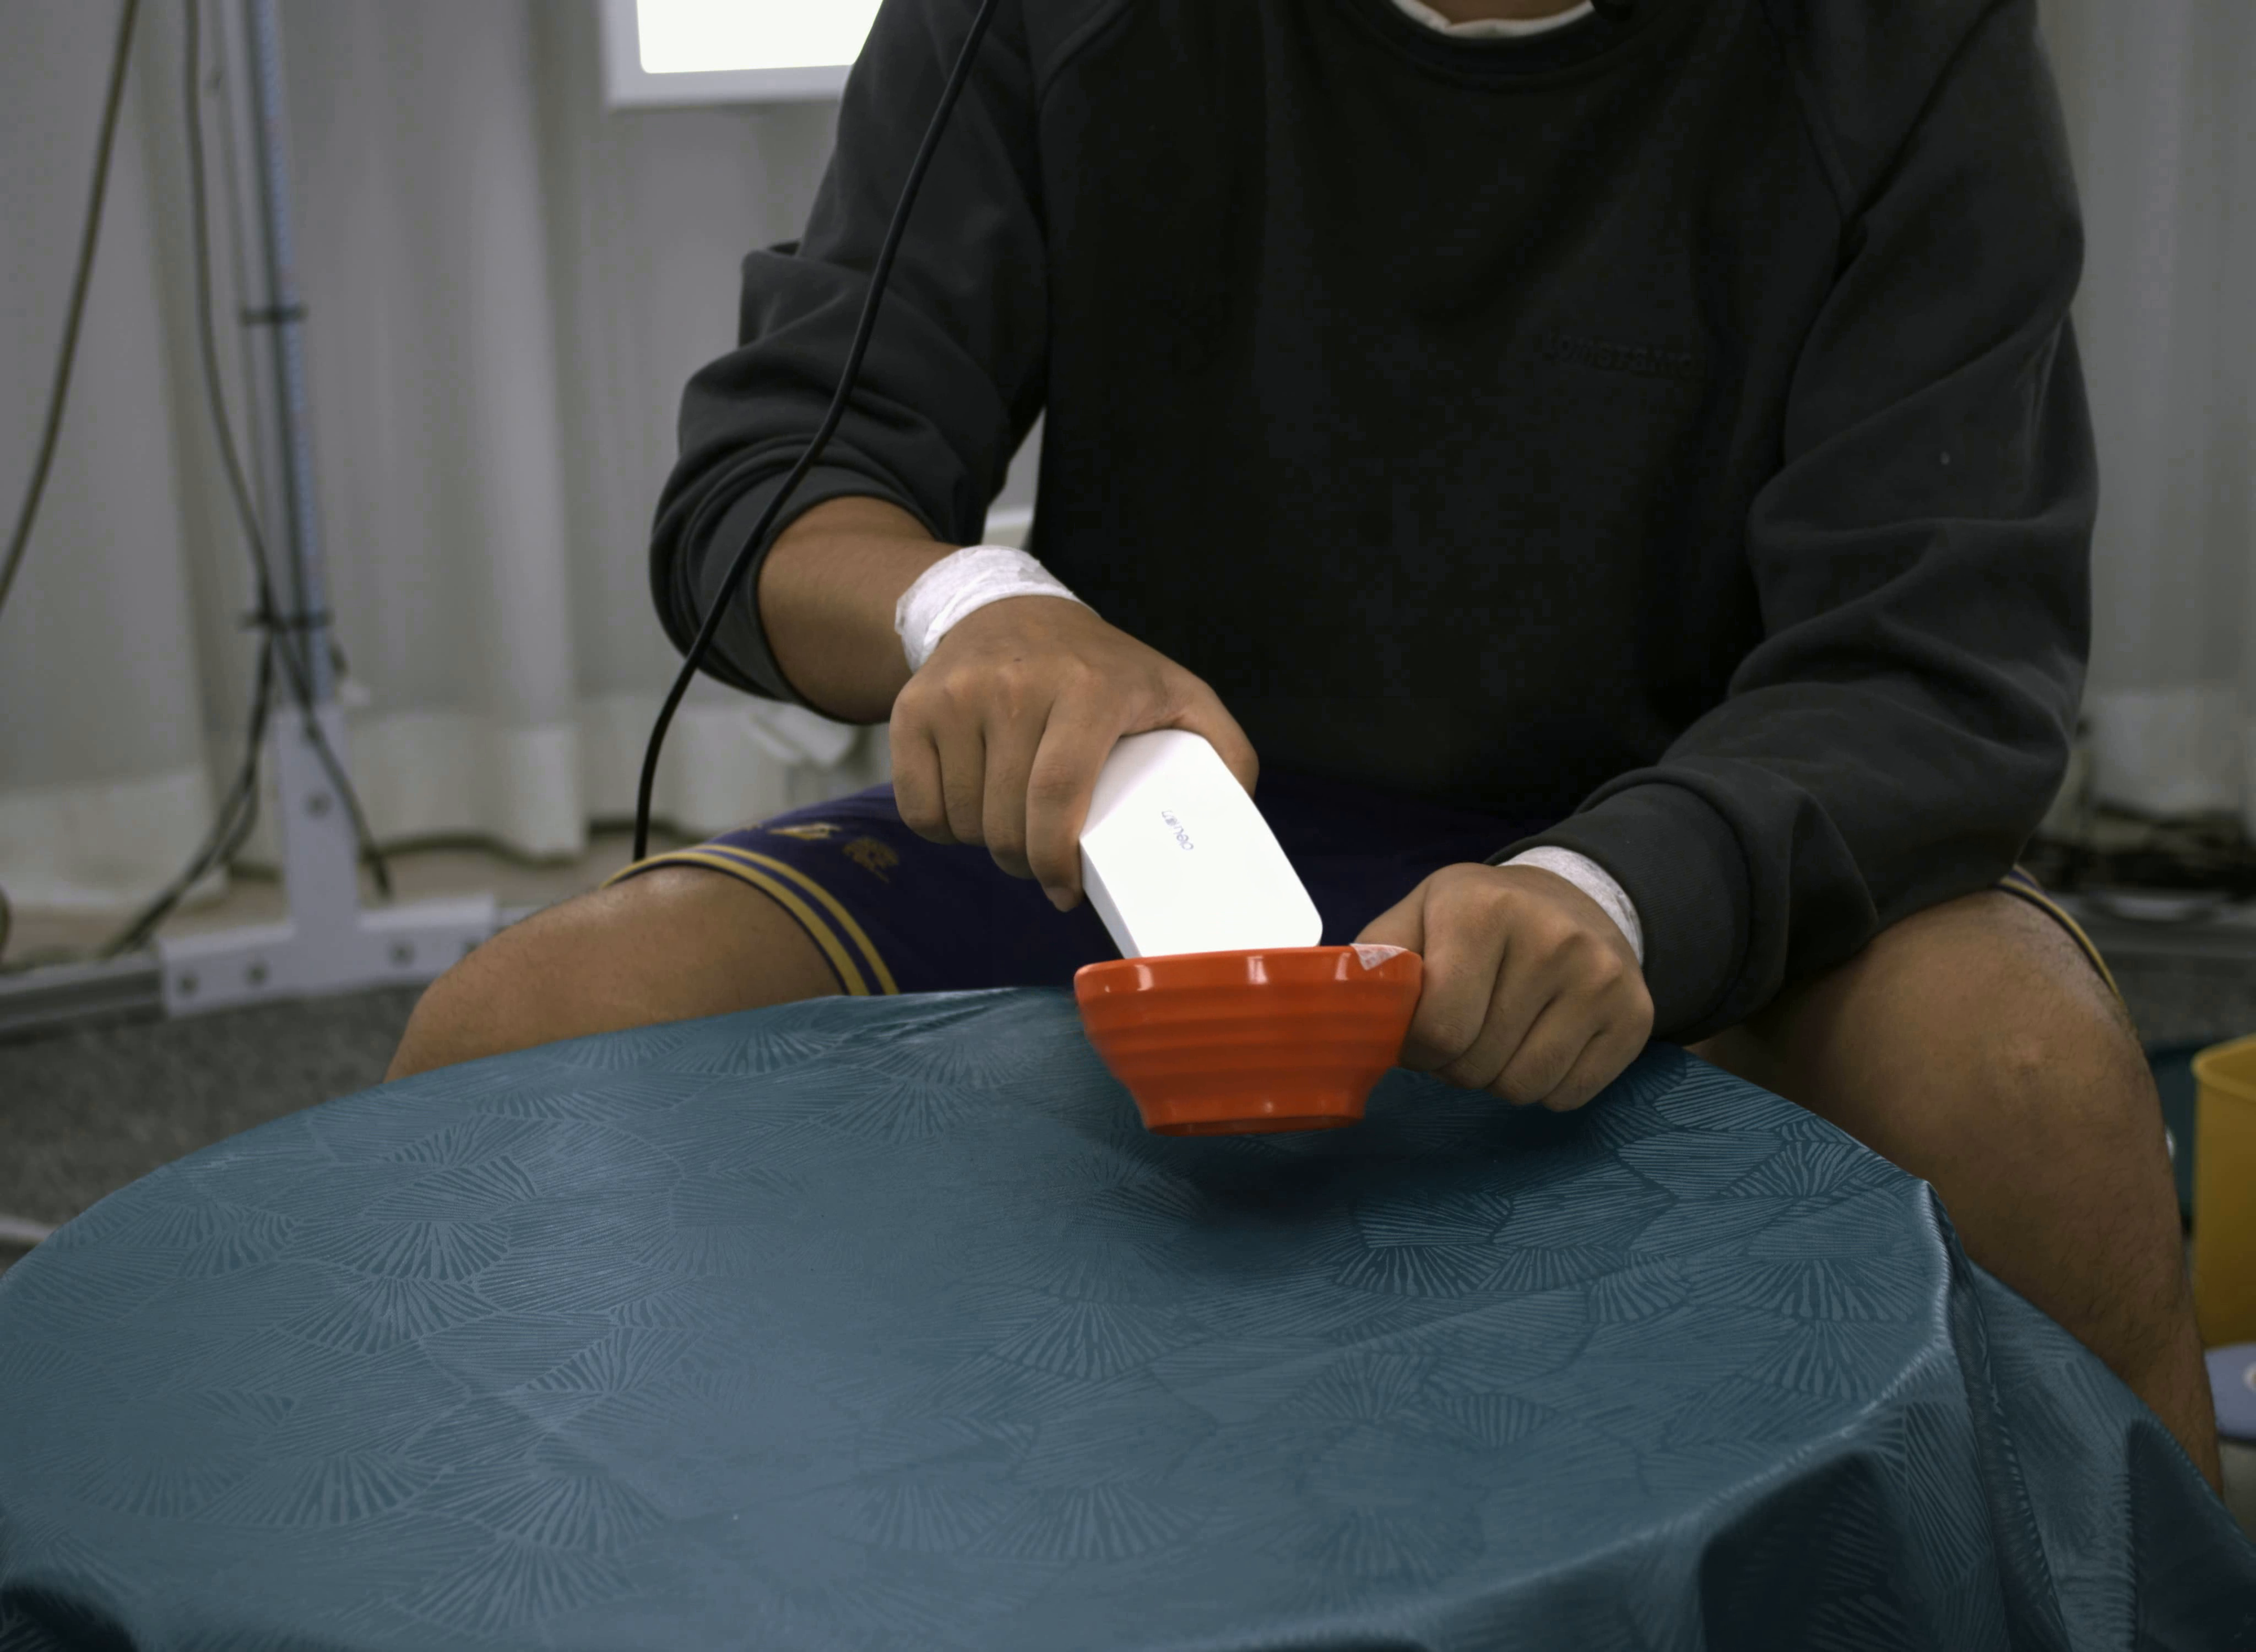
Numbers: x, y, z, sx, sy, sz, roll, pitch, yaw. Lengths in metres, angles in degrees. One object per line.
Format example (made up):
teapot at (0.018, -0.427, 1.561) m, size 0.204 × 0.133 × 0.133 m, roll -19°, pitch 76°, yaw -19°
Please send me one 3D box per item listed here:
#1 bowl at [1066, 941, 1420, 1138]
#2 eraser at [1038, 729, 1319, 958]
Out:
bowl at (0.037, 0.068, 1.694) m, size 0.118 × 0.052 × 0.118 m, roll -3°, pitch -8°, yaw -1°
eraser at (0.016, 0.014, 1.769) m, size 0.063 × 0.034 × 0.133 m, roll -9°, pitch 39°, yaw -15°
